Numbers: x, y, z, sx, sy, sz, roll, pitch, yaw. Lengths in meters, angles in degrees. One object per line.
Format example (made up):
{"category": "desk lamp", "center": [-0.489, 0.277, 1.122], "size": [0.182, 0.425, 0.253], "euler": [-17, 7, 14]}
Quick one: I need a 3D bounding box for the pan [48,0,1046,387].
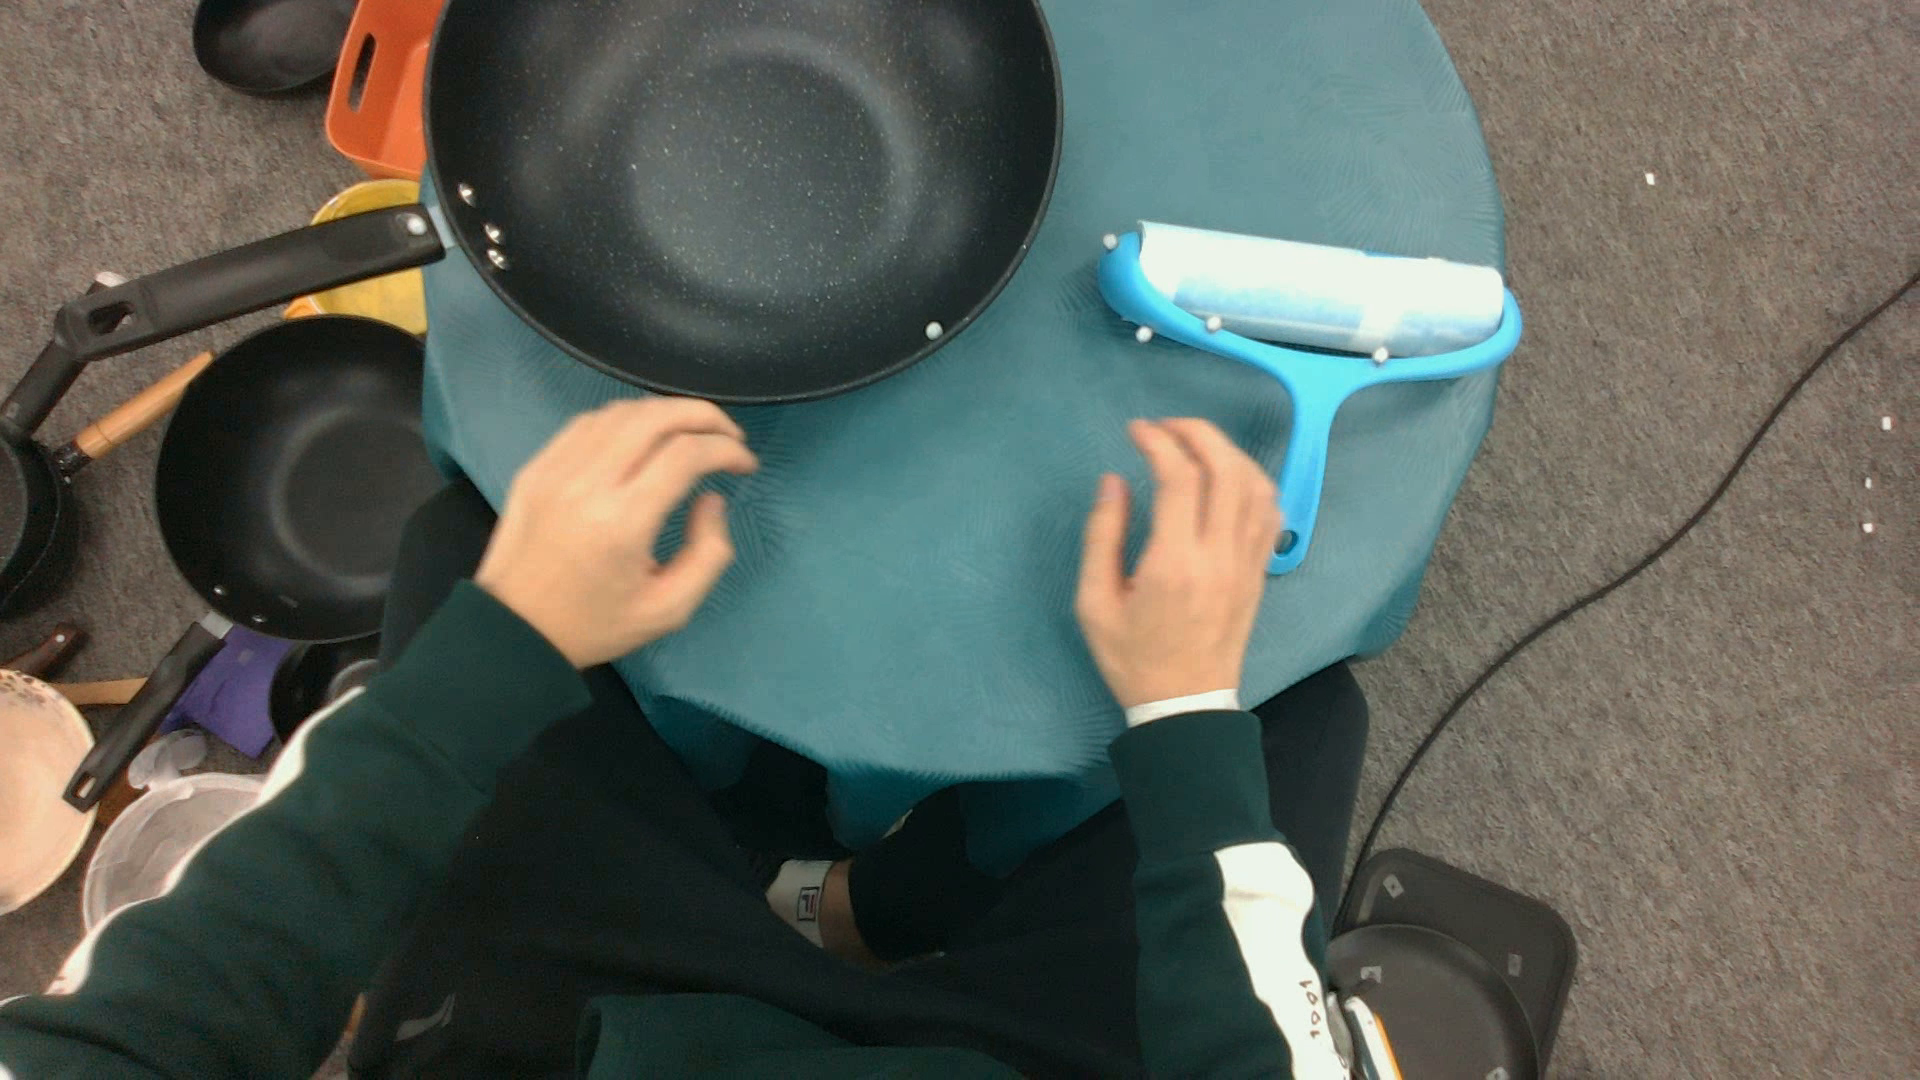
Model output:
{"category": "pan", "center": [-0.187, -0.180, 0.687], "size": [0.477, 0.111, 0.310], "euler": [-27, 81, -11]}

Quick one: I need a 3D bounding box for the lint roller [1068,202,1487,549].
{"category": "lint roller", "center": [0.171, -0.089, 0.733], "size": [0.229, 0.068, 0.180], "euler": [2, 78, -8]}
